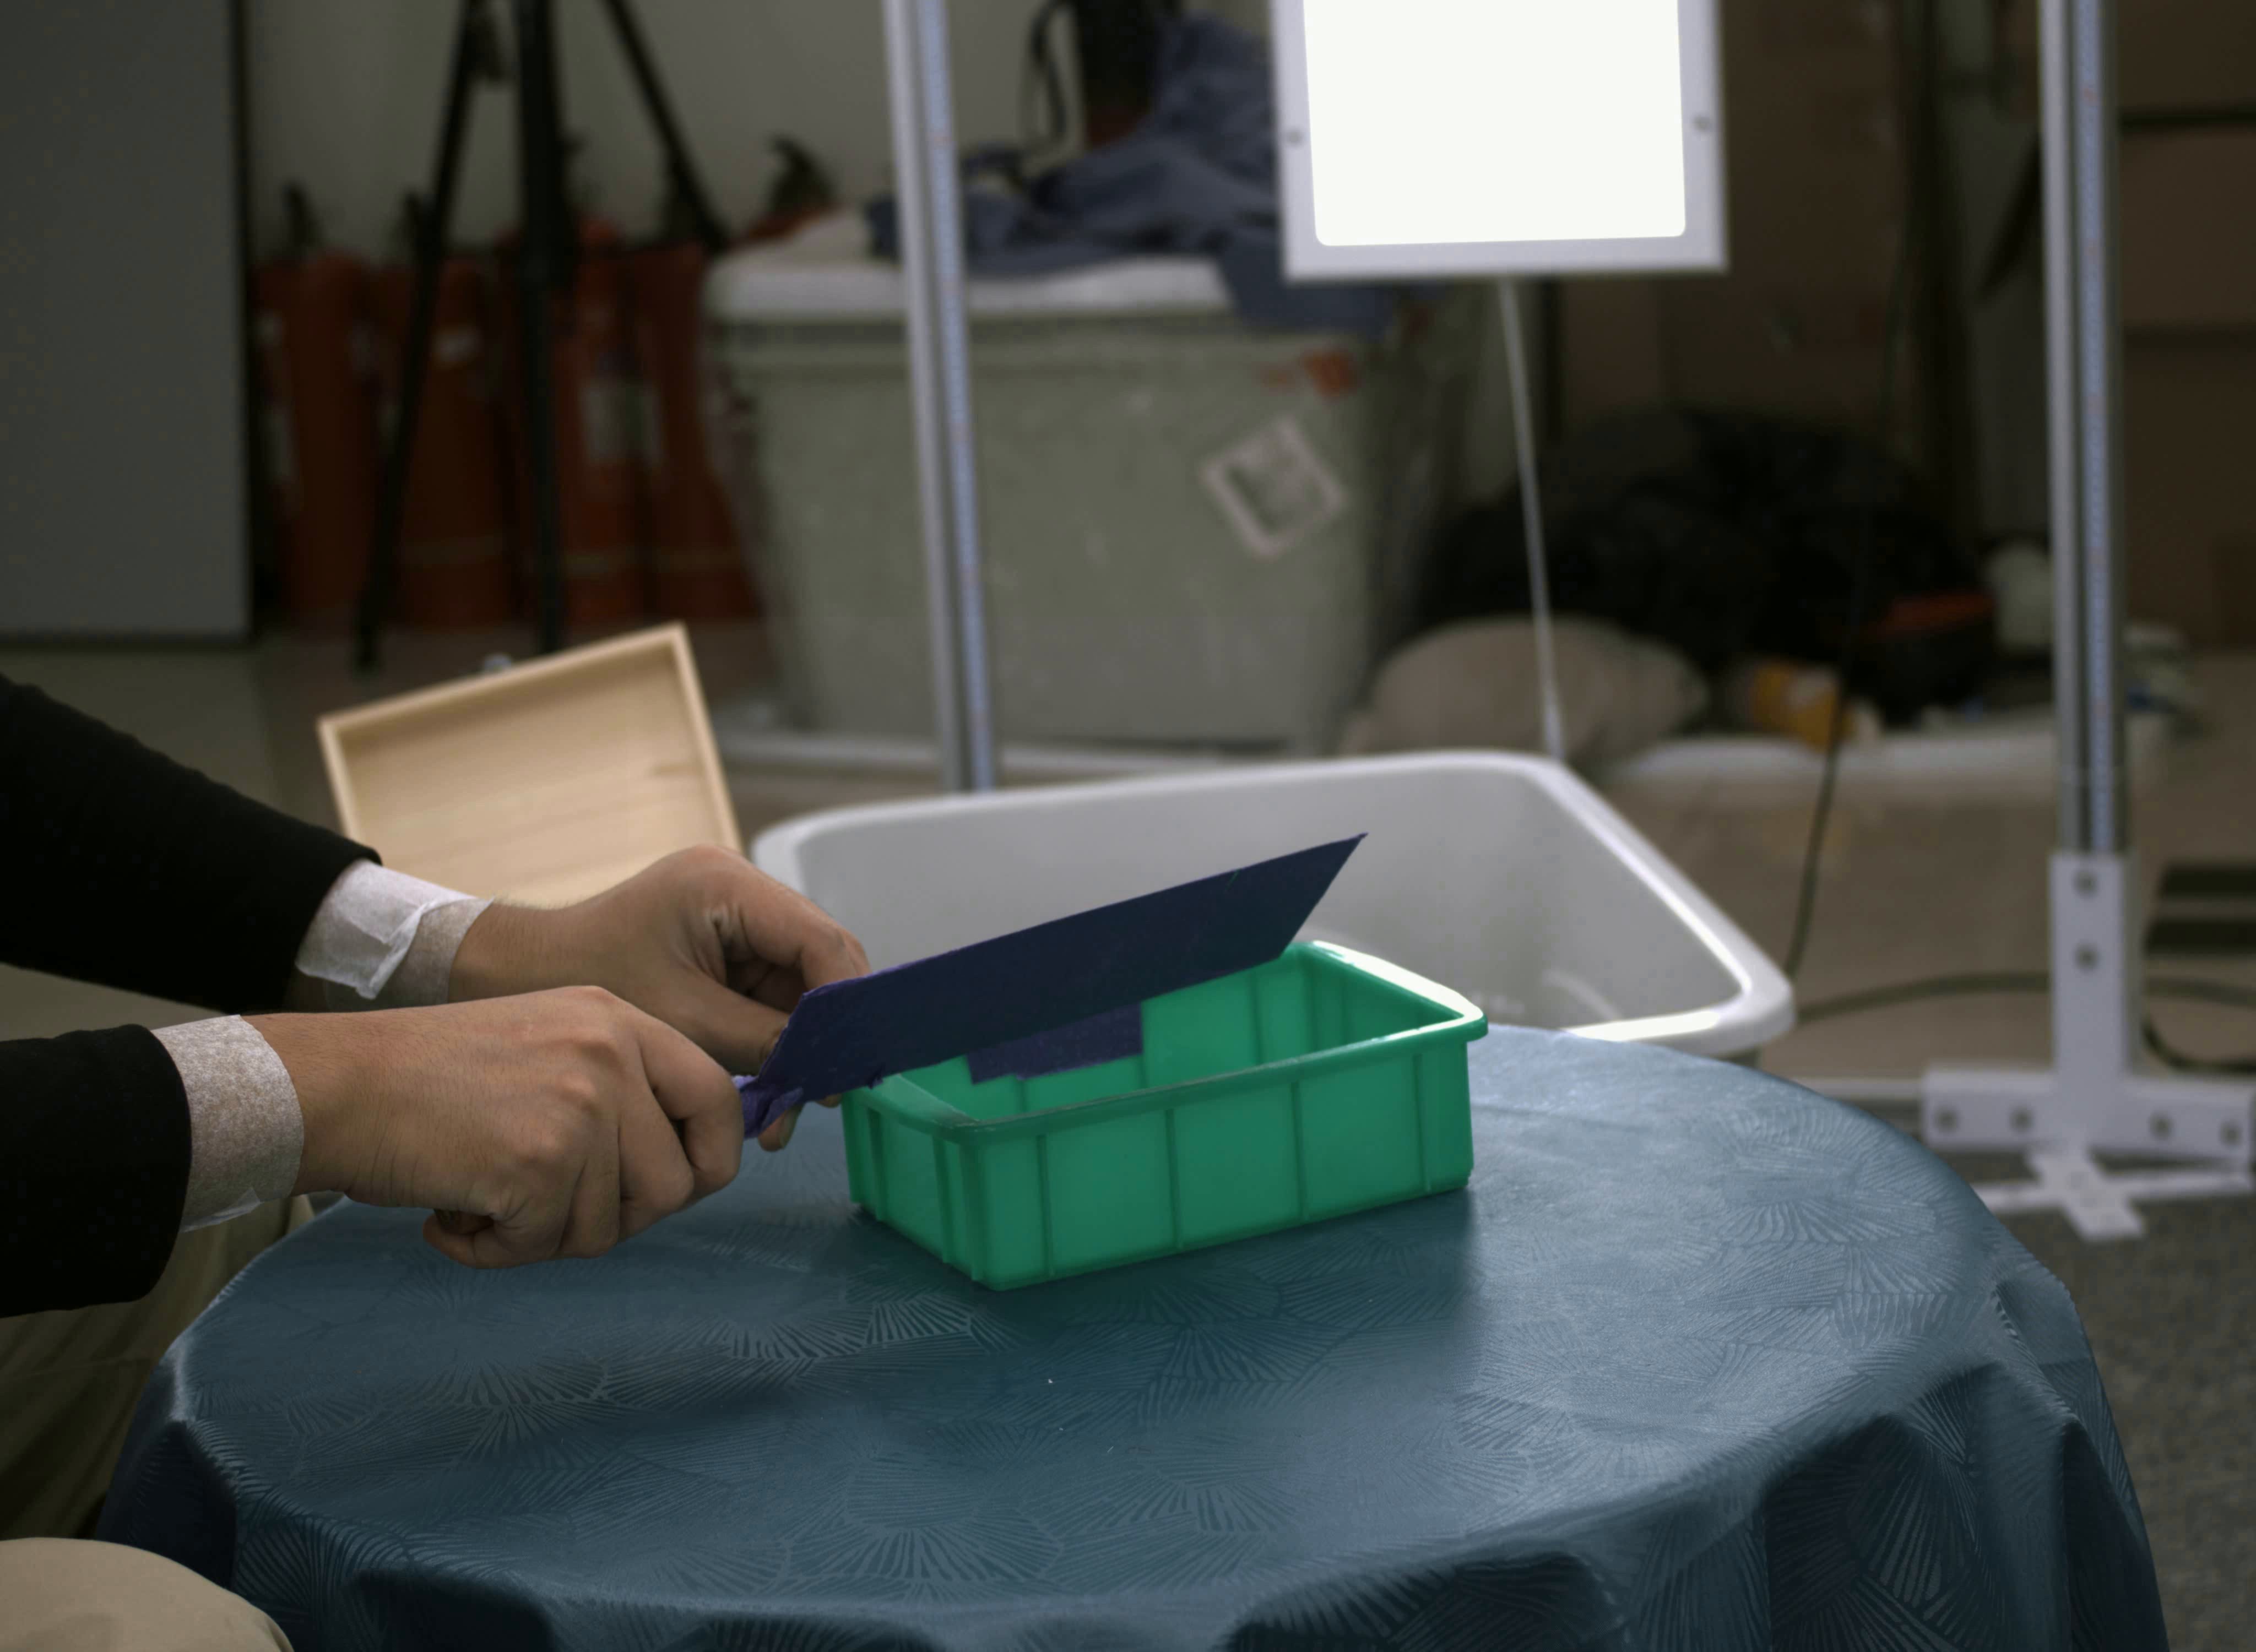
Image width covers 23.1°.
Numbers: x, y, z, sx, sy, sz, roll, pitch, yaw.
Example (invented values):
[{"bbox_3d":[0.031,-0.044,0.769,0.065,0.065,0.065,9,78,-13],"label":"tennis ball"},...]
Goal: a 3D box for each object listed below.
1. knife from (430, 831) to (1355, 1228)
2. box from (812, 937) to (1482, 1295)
[{"bbox_3d":[-0.071,0.056,1.754,0.308,0.032,0.105,-18,-22,-26],"label":"knife"},{"bbox_3d":[0.008,0.098,1.881,0.206,0.065,0.141,-13,14,-23],"label":"box"}]
